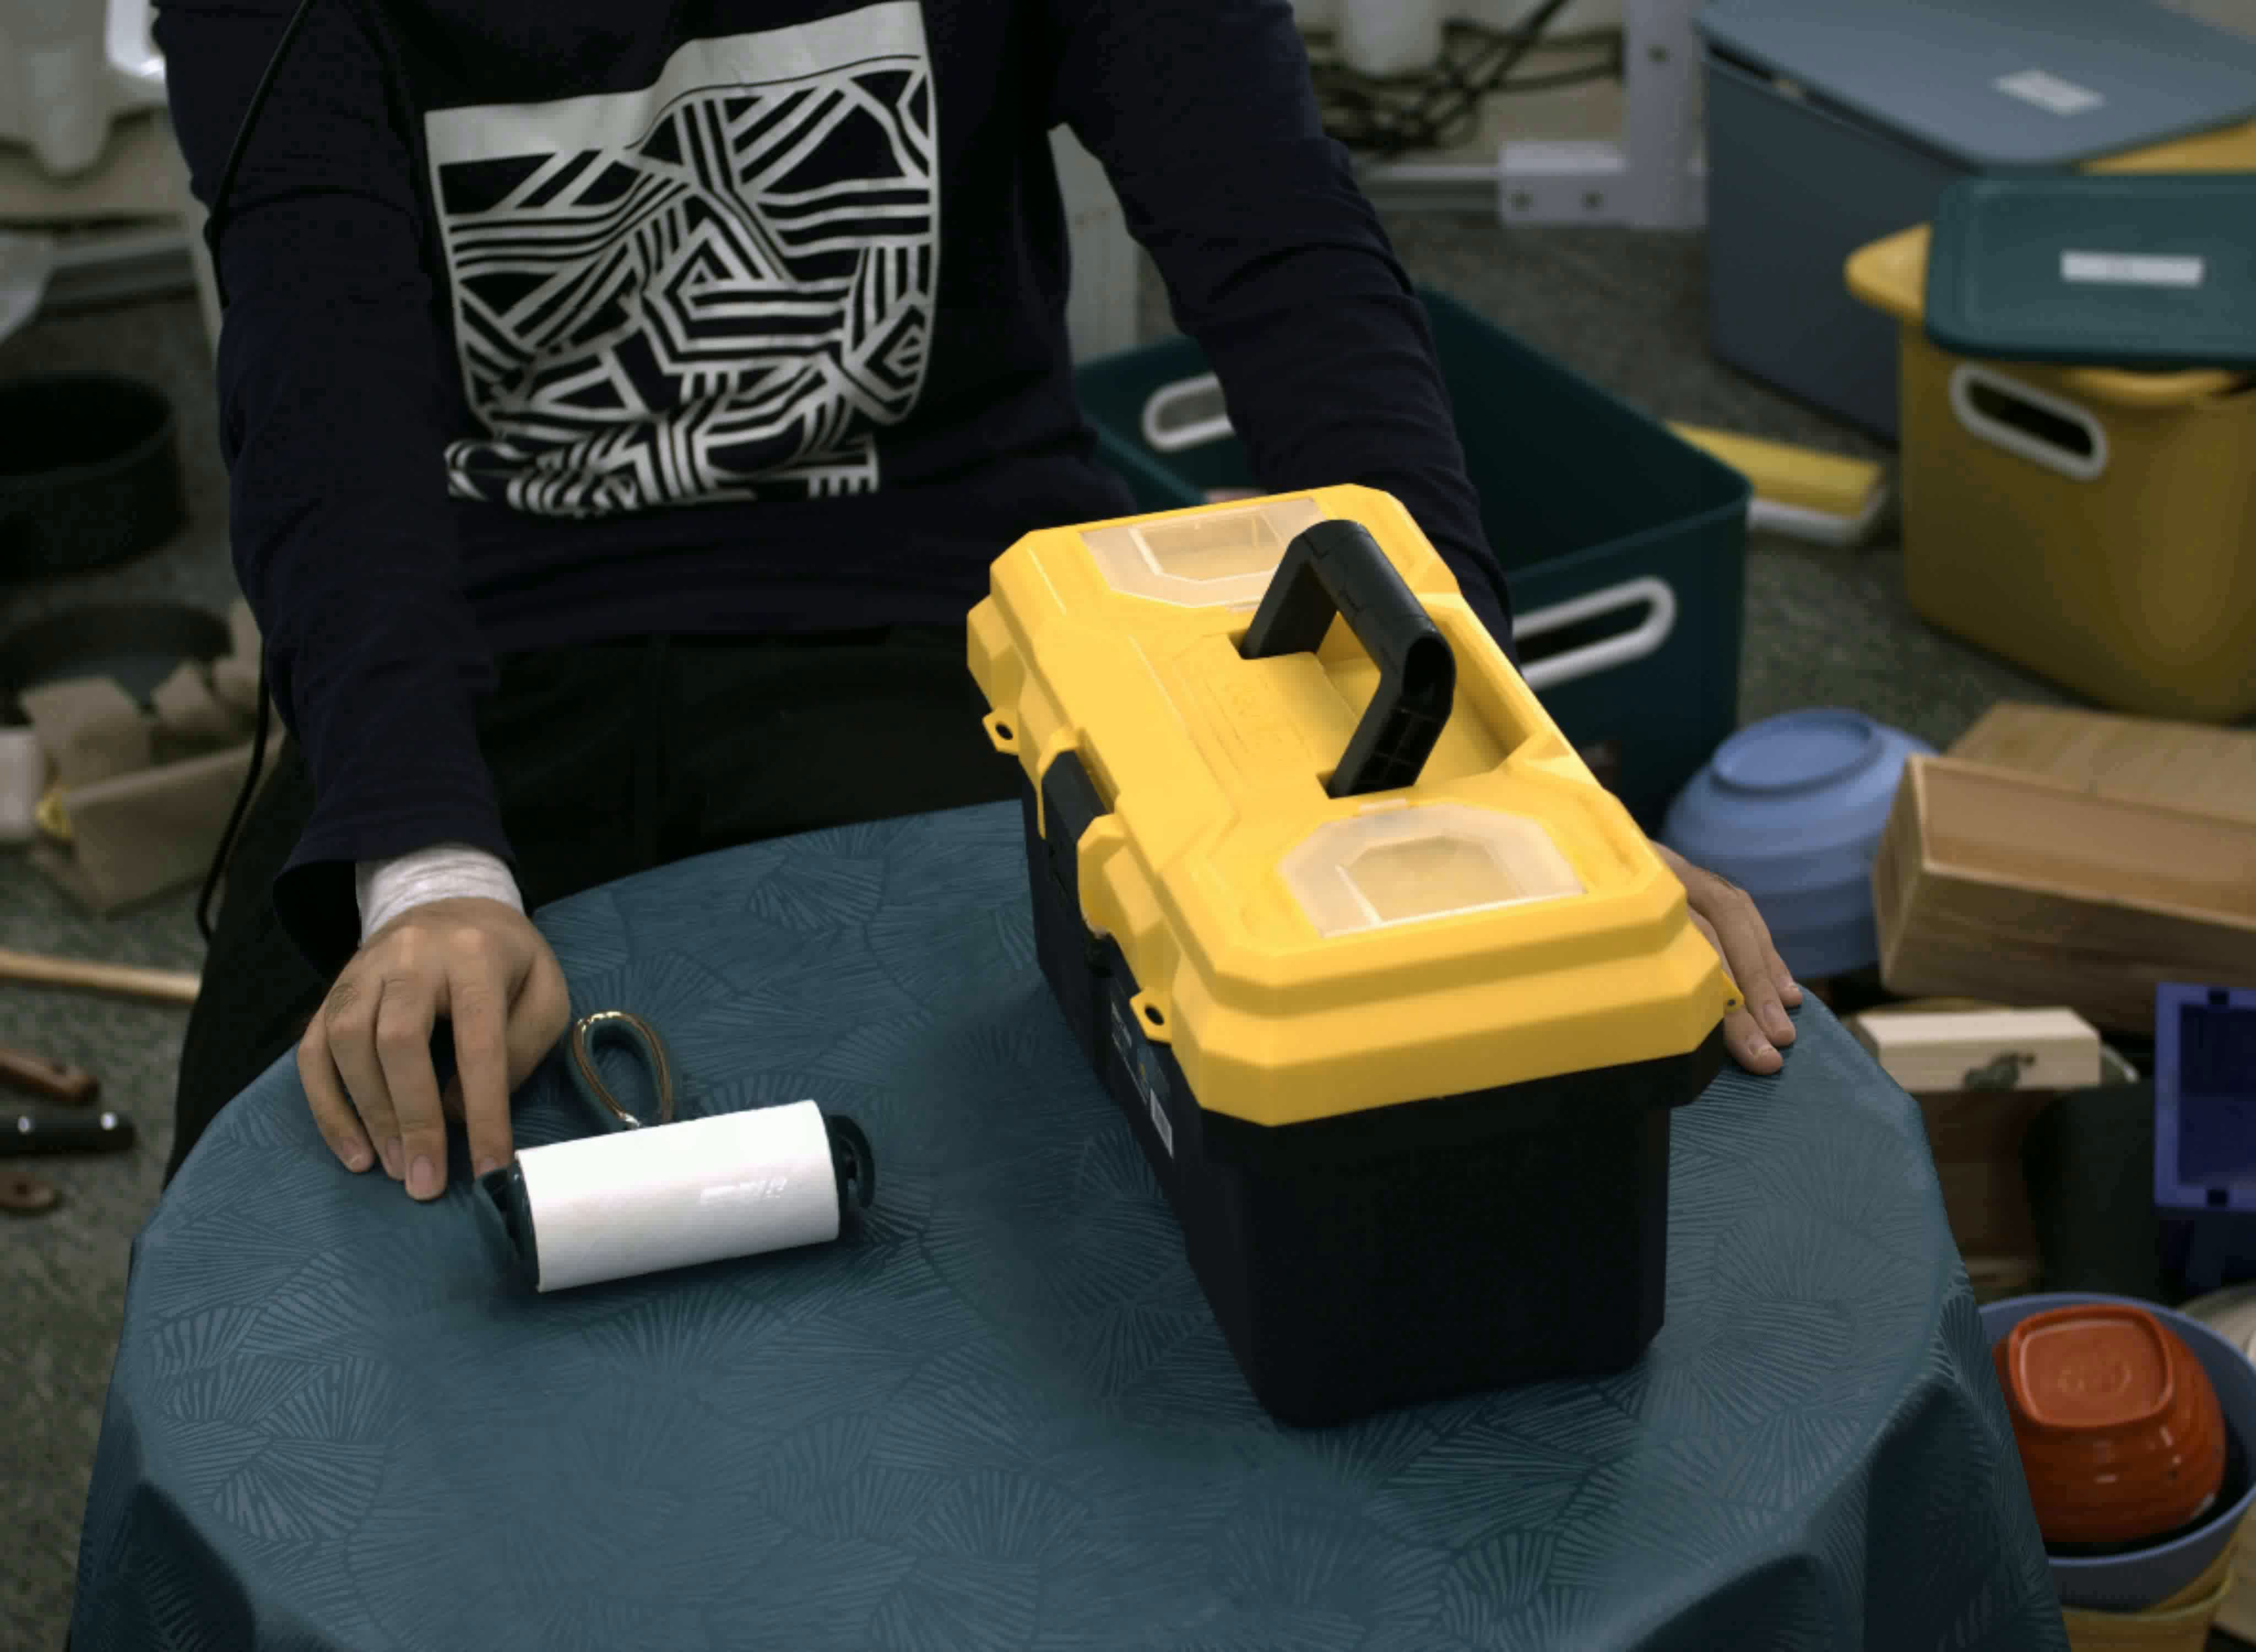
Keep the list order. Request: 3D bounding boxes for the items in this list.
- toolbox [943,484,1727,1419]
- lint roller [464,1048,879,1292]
[{"bbox_3d":[0.062,0.034,1.839,0.181,0.171,0.355,-8,27,-12],"label":"toolbox"},{"bbox_3d":[-0.165,0.095,1.886,0.134,0.048,0.181,-10,24,-12],"label":"lint roller"}]
